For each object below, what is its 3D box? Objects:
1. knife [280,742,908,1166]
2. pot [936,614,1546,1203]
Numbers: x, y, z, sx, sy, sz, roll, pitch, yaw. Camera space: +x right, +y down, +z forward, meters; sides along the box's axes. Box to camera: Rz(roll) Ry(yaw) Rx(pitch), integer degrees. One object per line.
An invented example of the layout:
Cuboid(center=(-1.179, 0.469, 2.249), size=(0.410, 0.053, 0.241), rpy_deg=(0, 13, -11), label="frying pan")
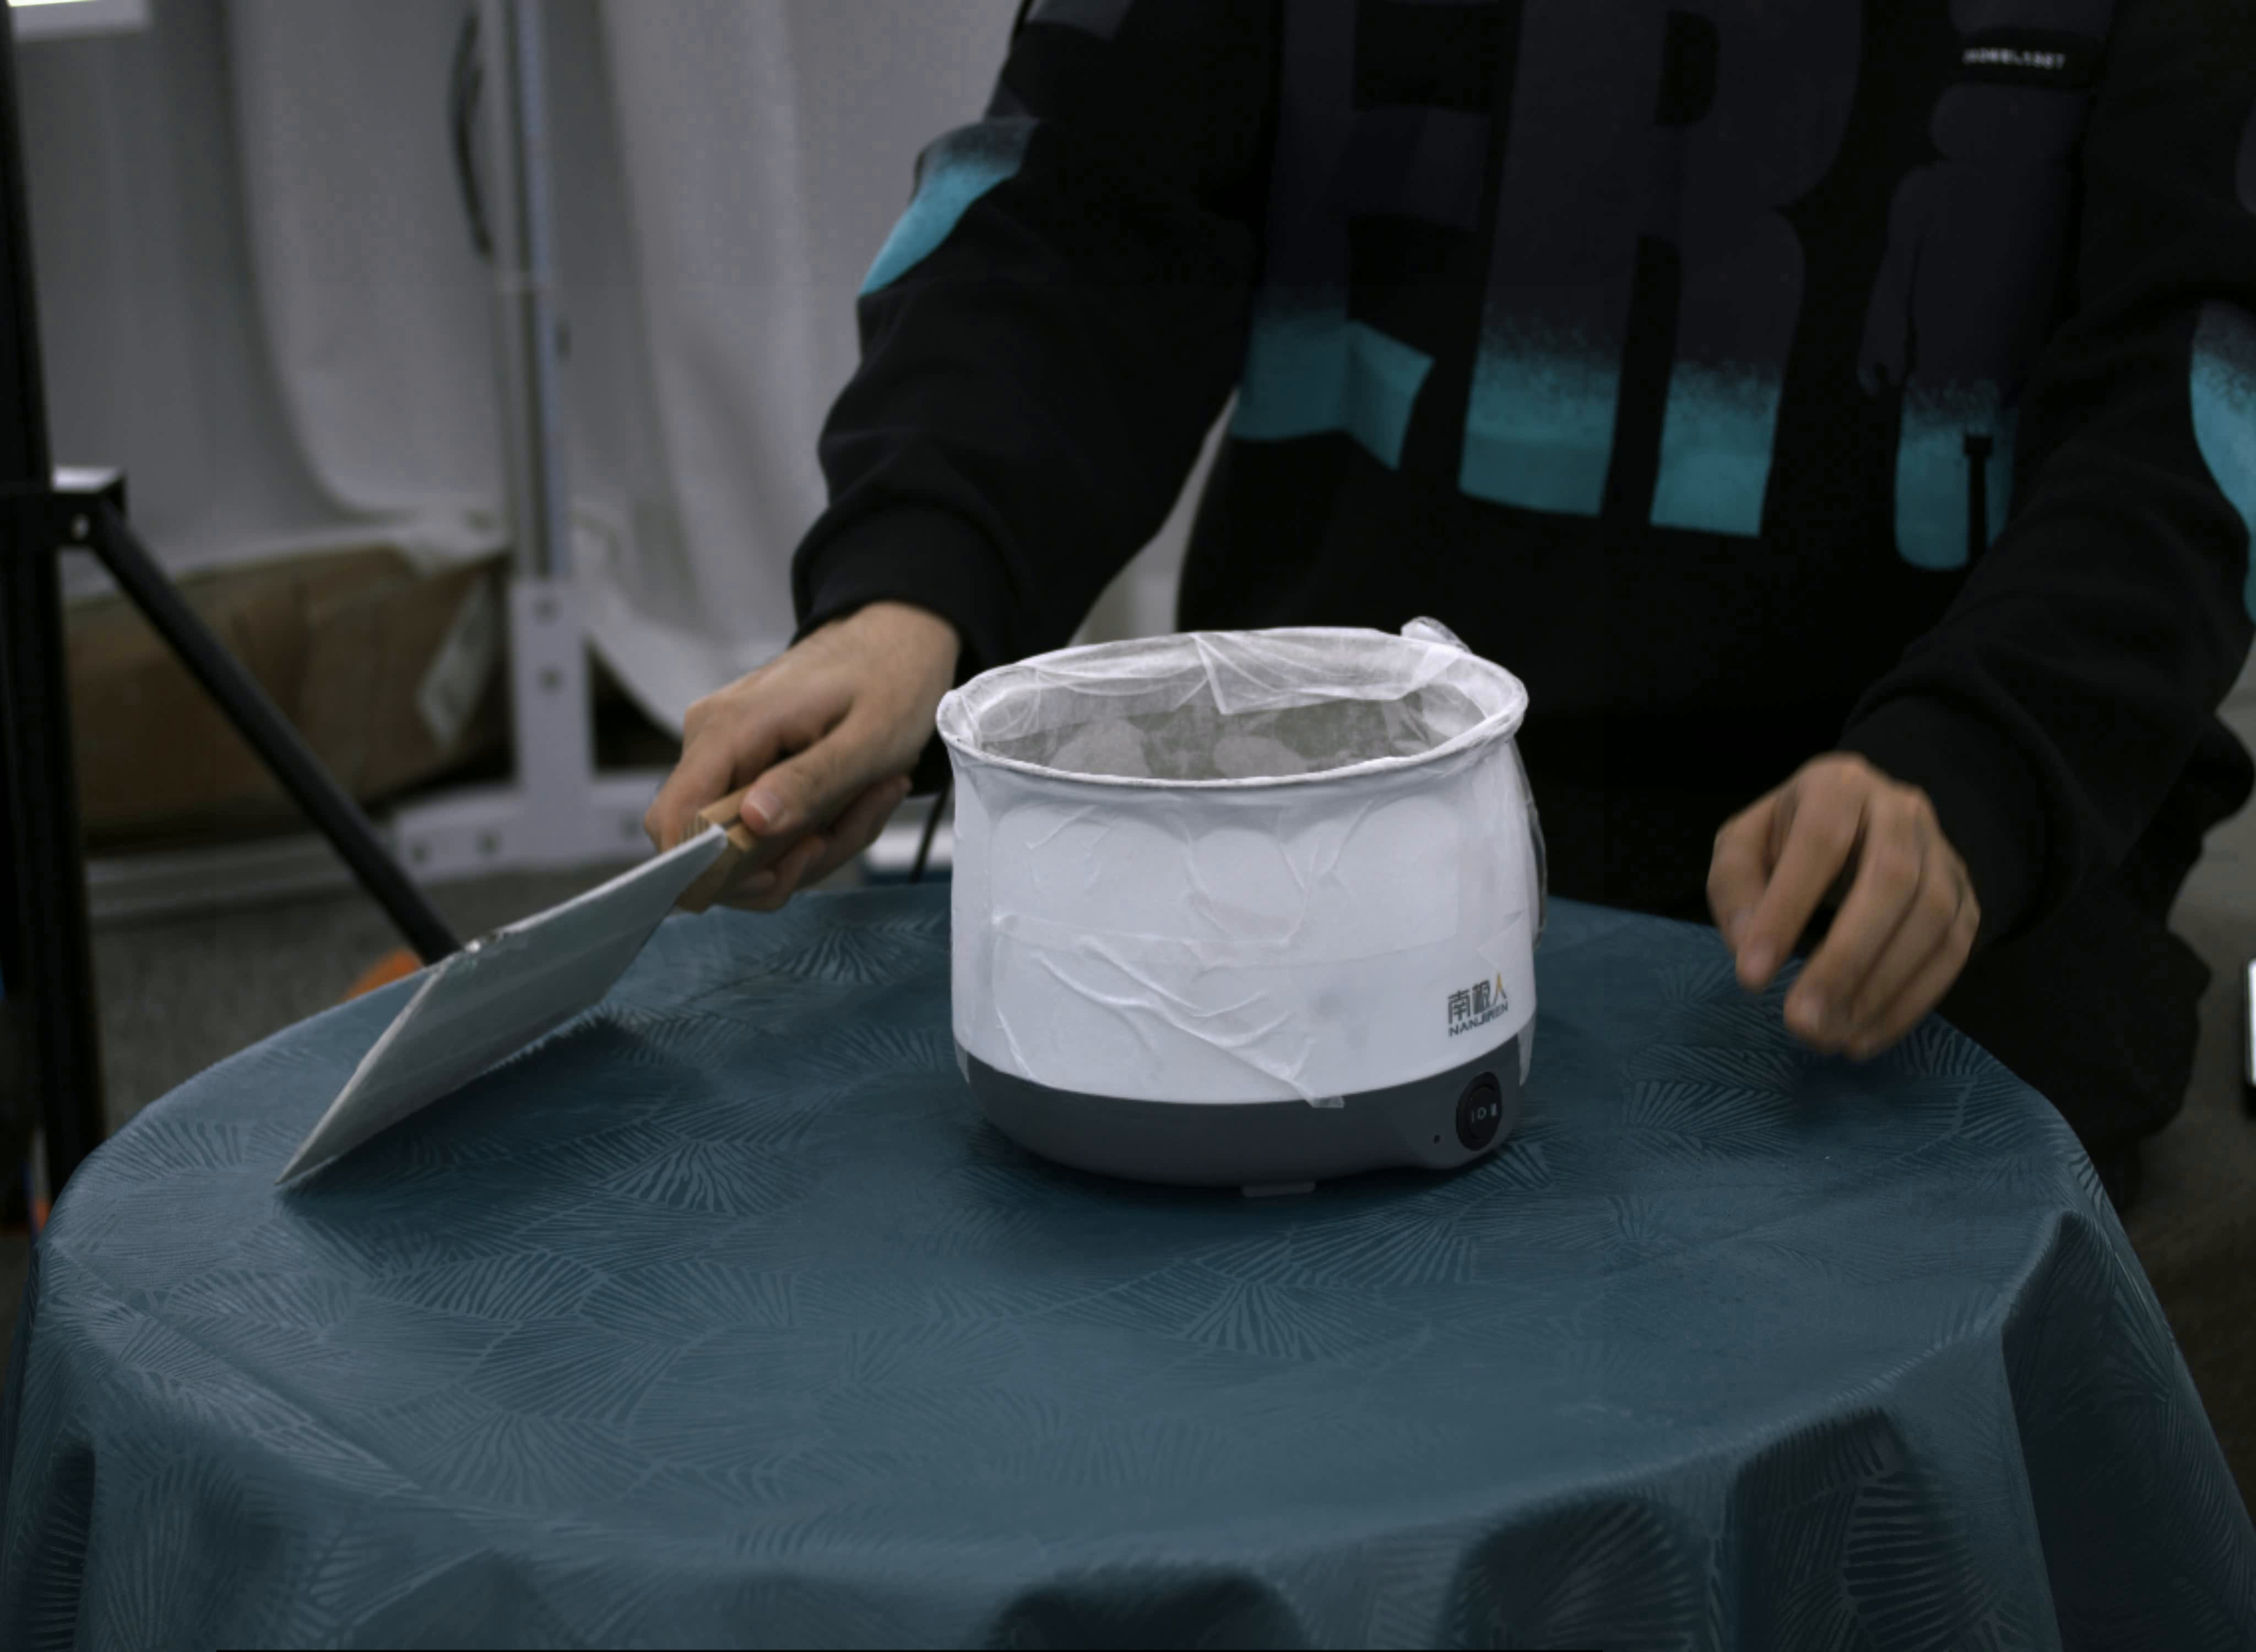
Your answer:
Cuboid(center=(-0.158, 0.031, 1.698), size=(0.022, 0.115, 0.310), rpy_deg=(45, 33, 8), label="knife")
Cuboid(center=(0.050, 0.018, 1.617), size=(0.182, 0.136, 0.229), rpy_deg=(10, 21, 37), label="pot")
